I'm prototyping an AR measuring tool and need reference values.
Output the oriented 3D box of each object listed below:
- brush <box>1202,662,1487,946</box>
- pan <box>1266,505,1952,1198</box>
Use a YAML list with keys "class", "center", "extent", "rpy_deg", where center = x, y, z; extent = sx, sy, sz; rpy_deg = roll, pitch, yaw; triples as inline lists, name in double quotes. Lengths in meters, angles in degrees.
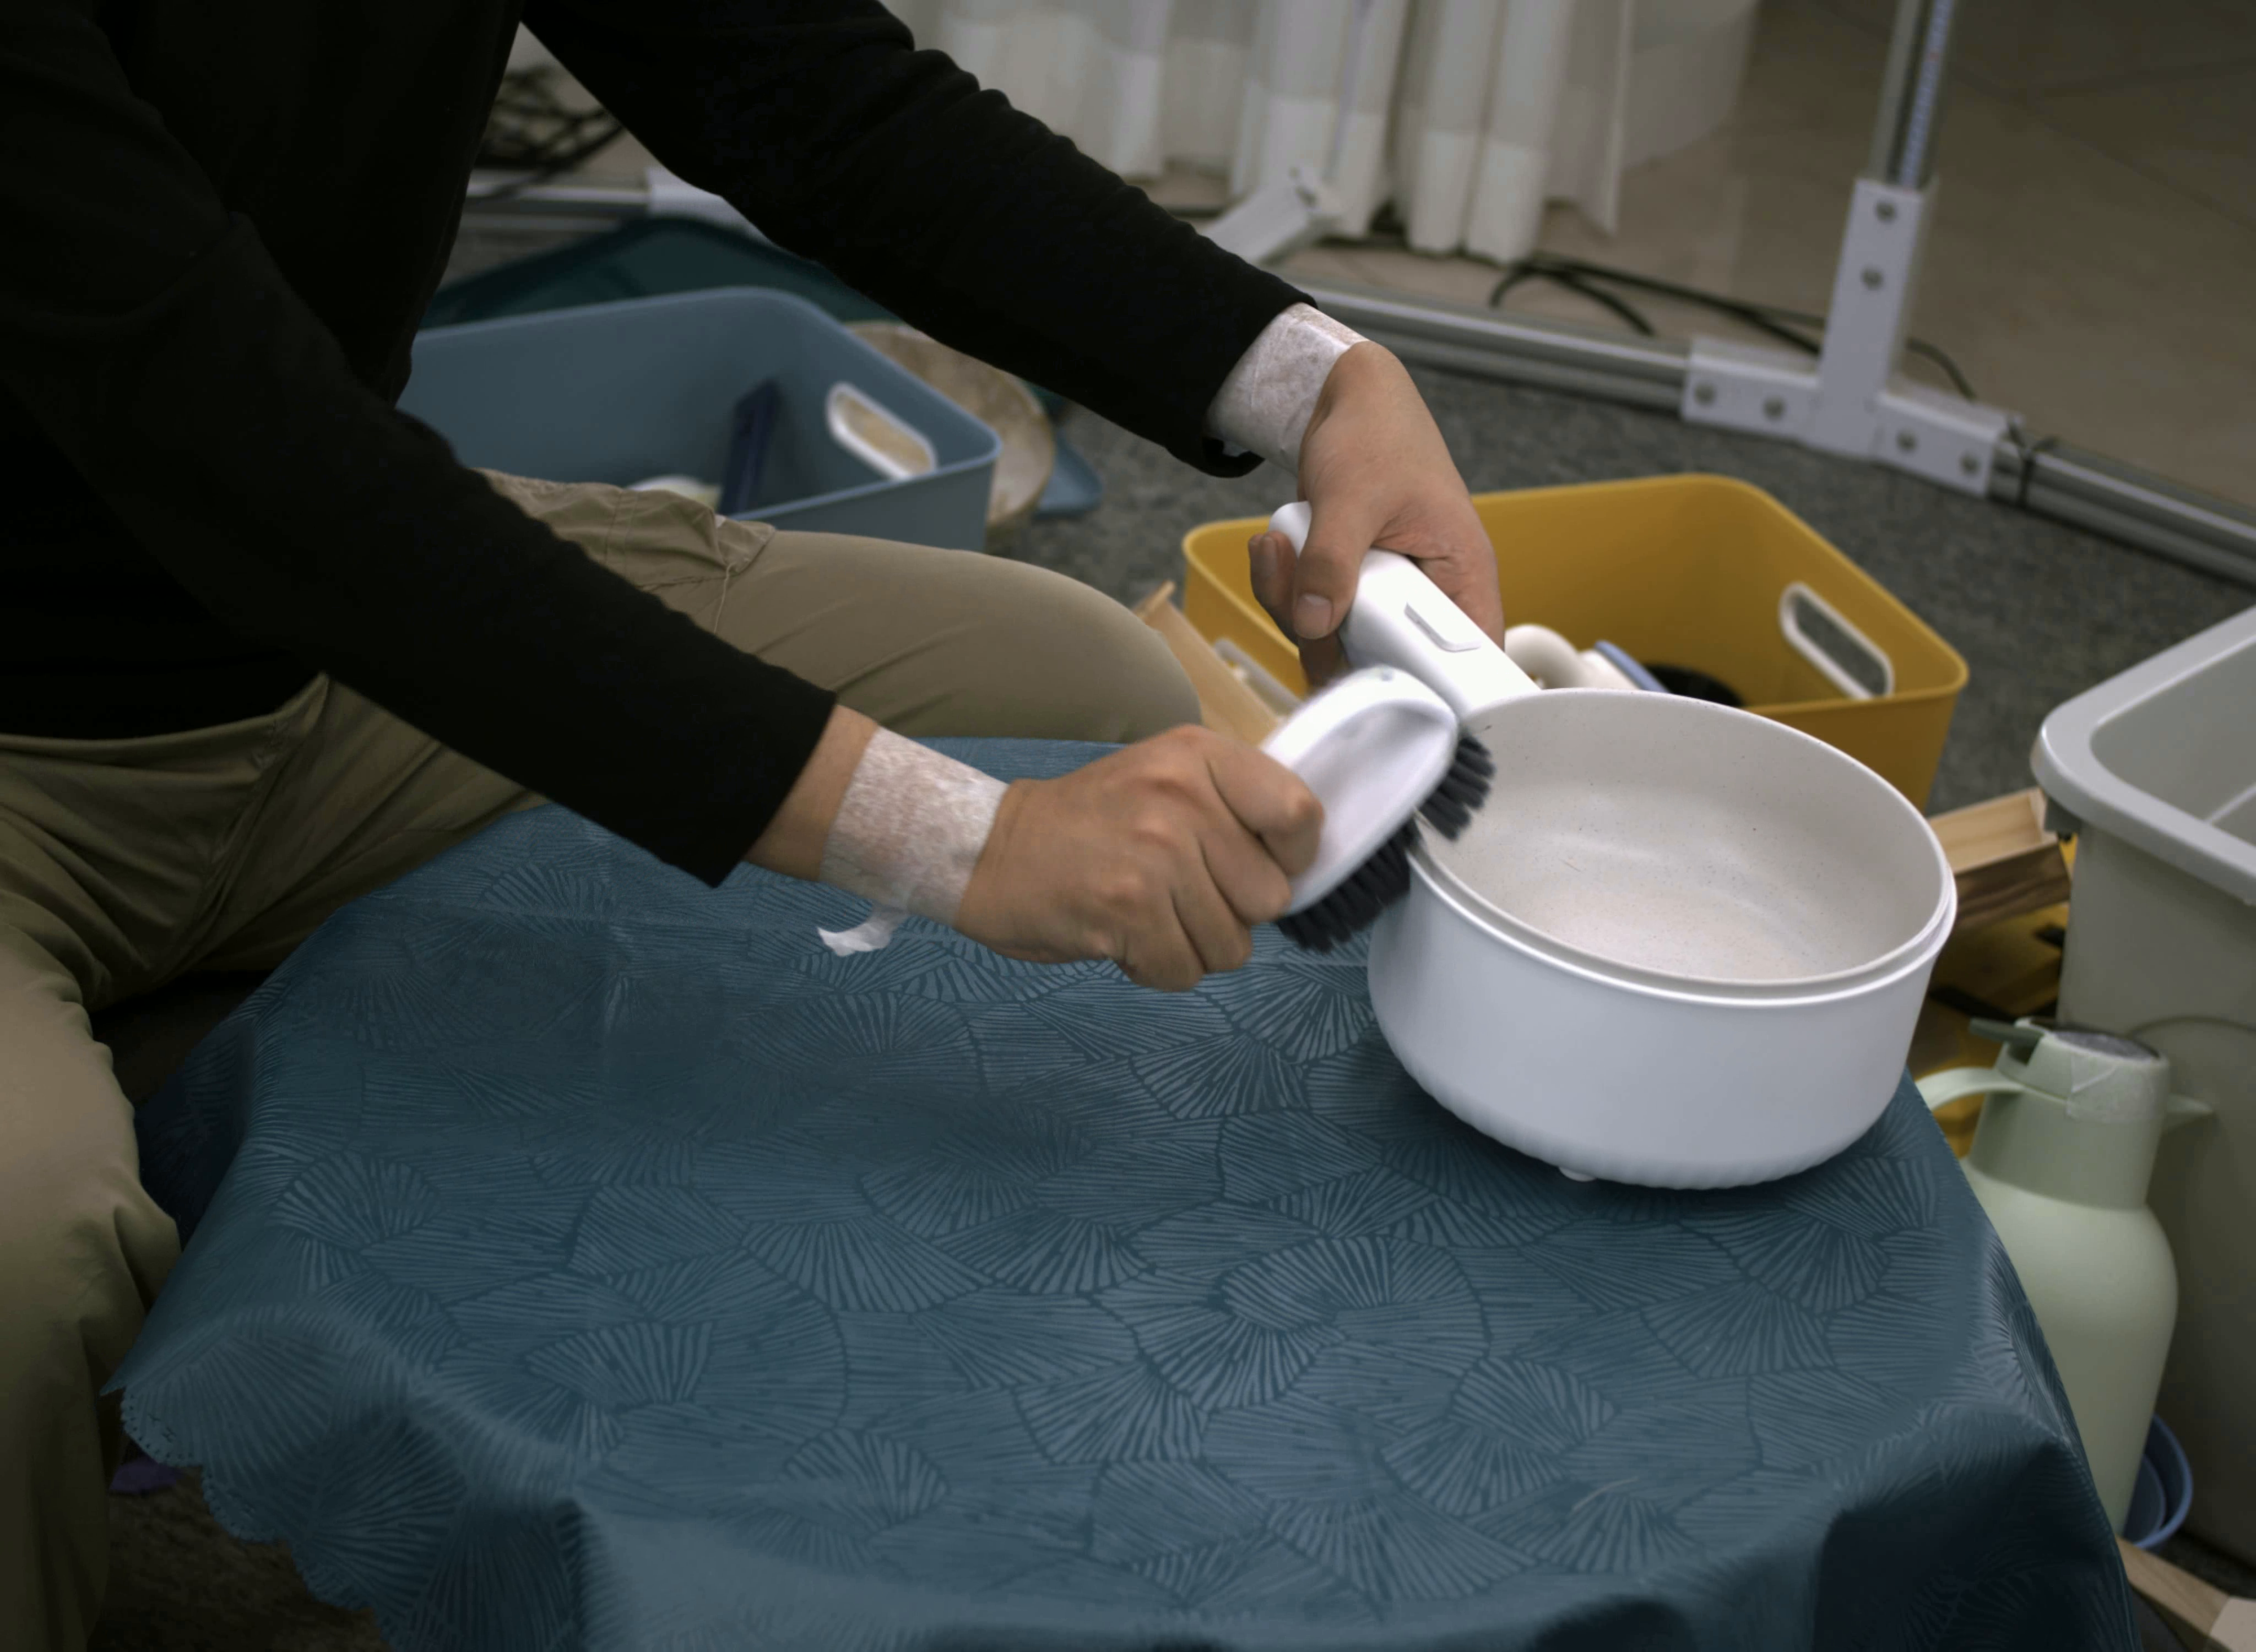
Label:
- class: "brush"
  center: [0.067, -0.014, 1.823]
  extent: [0.072, 0.099, 0.051]
  rpy_deg: [42, 4, -46]
- class: "pan"
  center: [0.147, 0.008, 1.938]
  extent: [0.200, 0.102, 0.358]
  rpy_deg: [-11, 35, -27]
